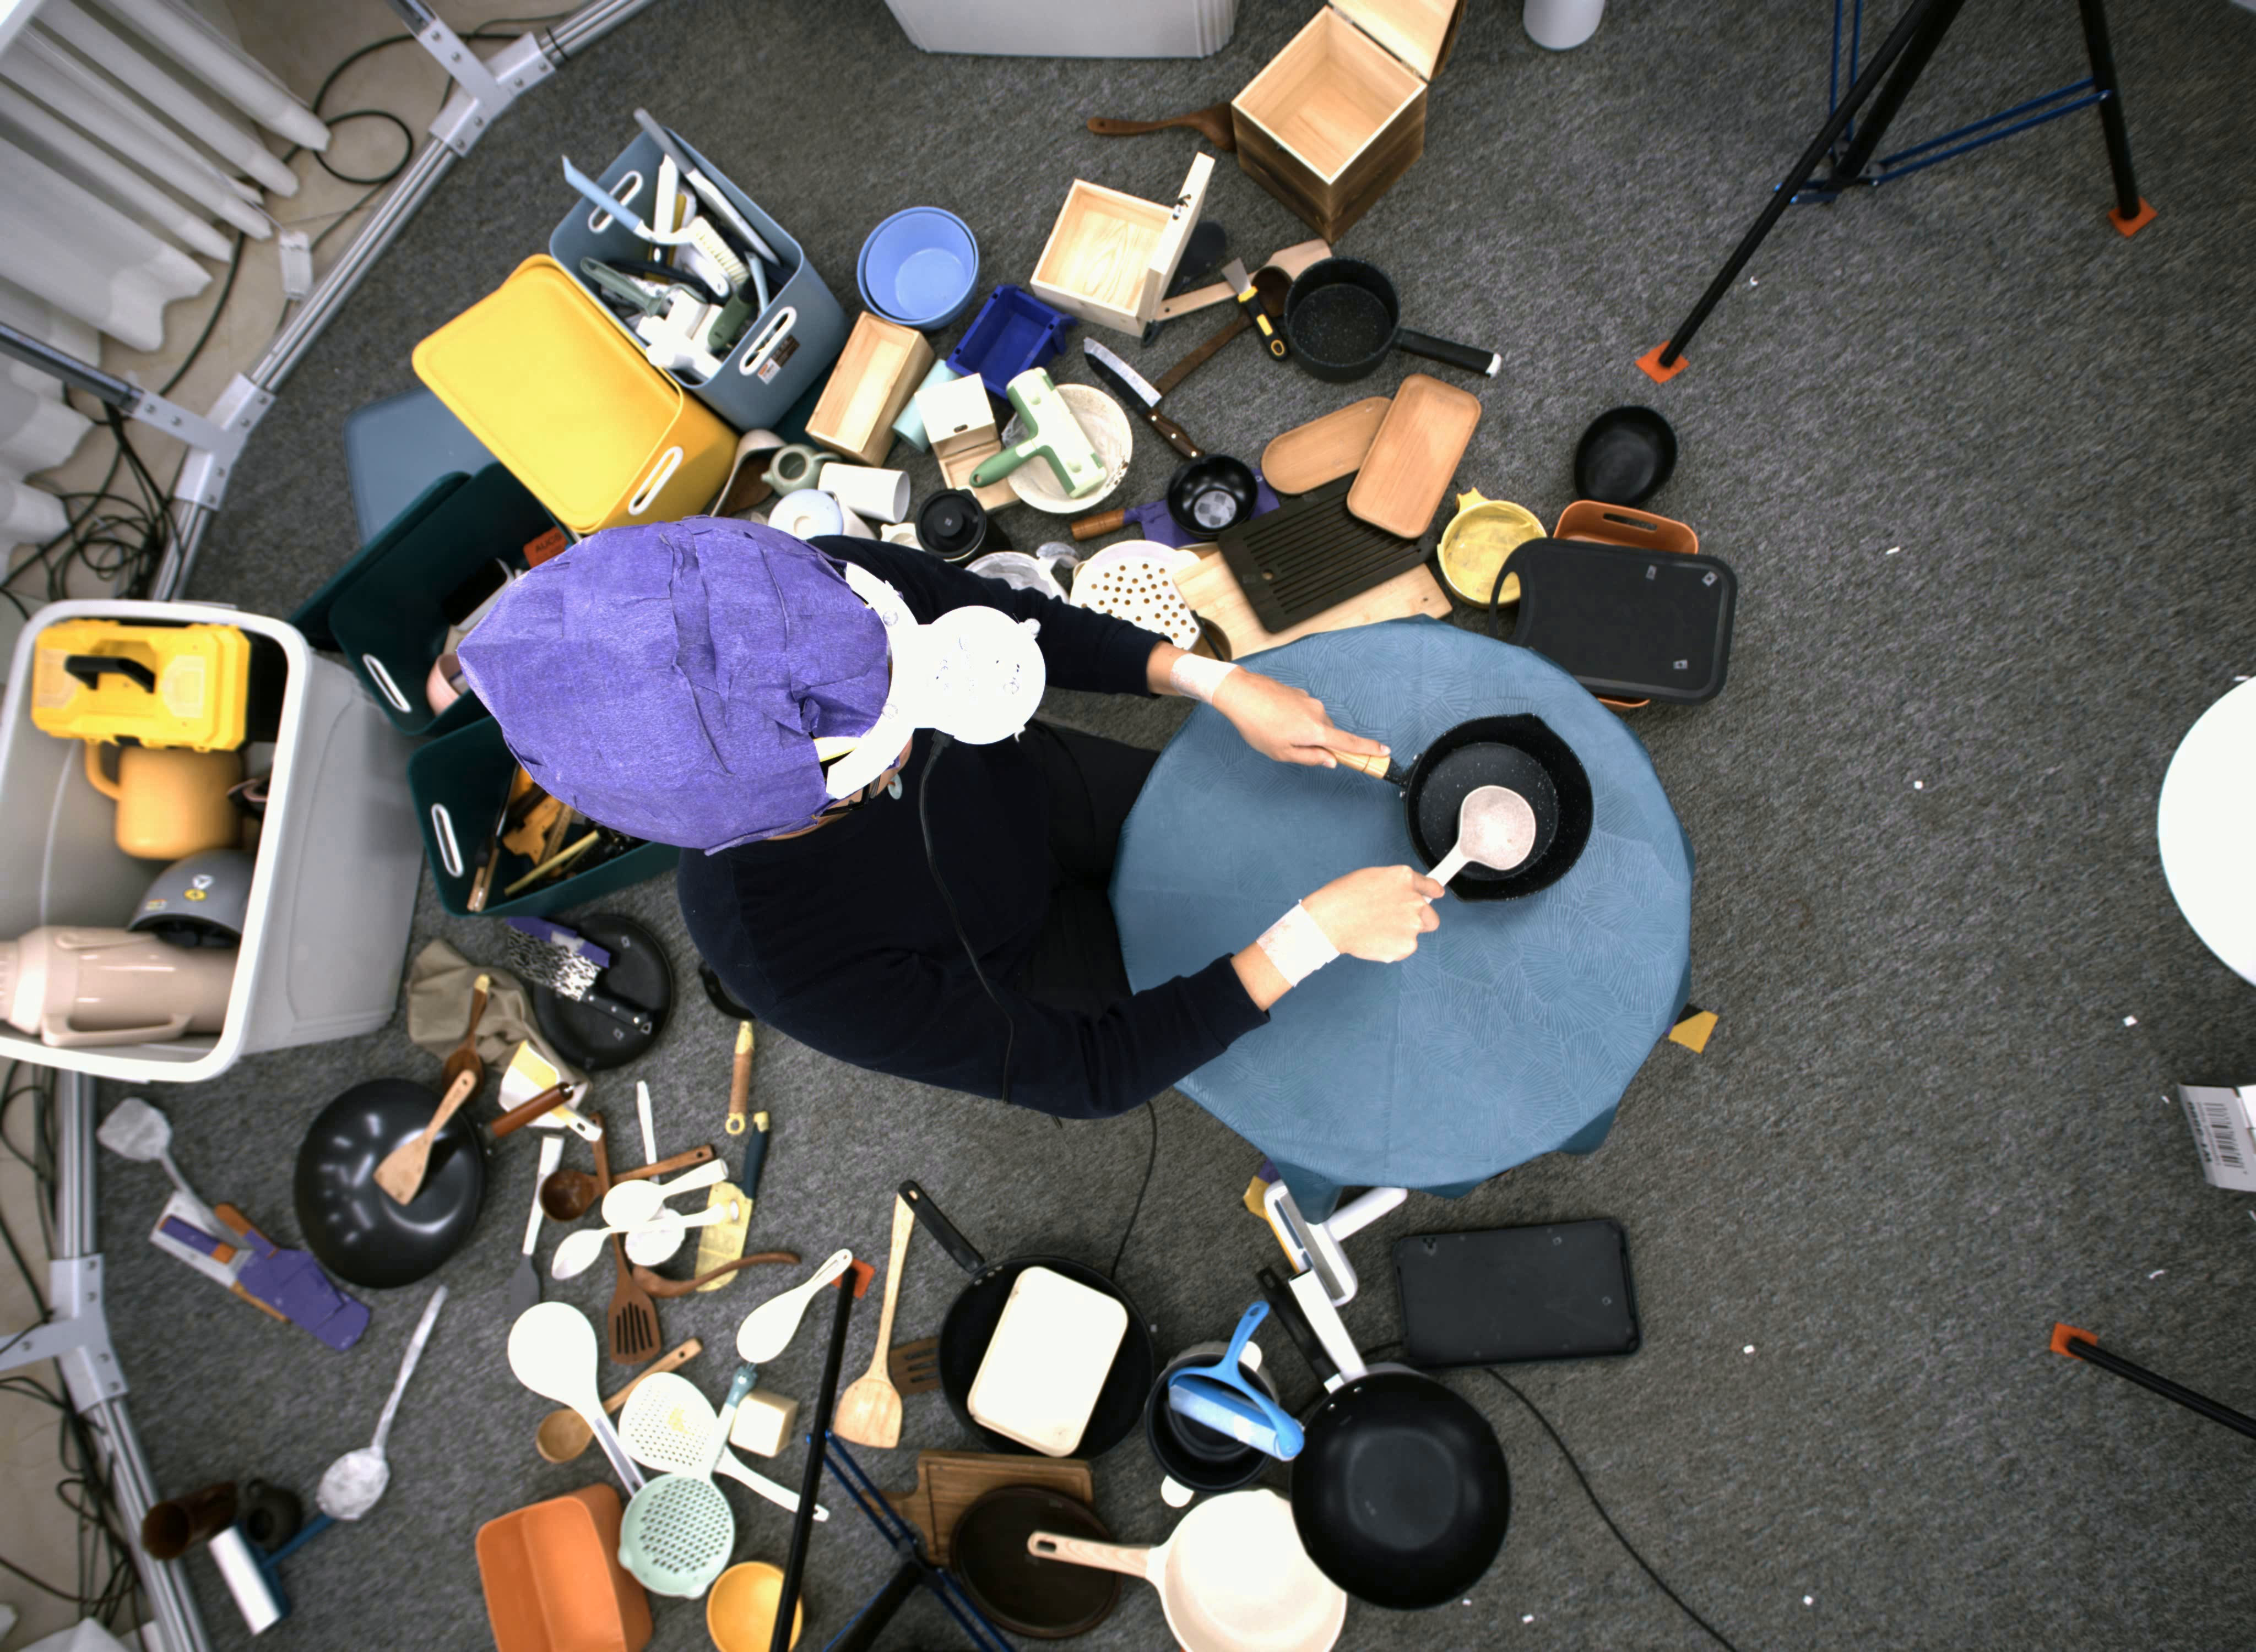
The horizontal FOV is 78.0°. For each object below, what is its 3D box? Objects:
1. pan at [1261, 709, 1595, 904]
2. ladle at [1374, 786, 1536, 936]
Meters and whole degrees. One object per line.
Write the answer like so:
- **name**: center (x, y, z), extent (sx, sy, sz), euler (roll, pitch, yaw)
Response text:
- **pan**: center (0.296, -0.045, 1.396), extent (0.343, 0.108, 0.208), euler (19, 94, 6)
- **ladle**: center (0.319, 0.037, 1.326), extent (0.070, 0.269, 0.089), euler (-21, 98, 39)
